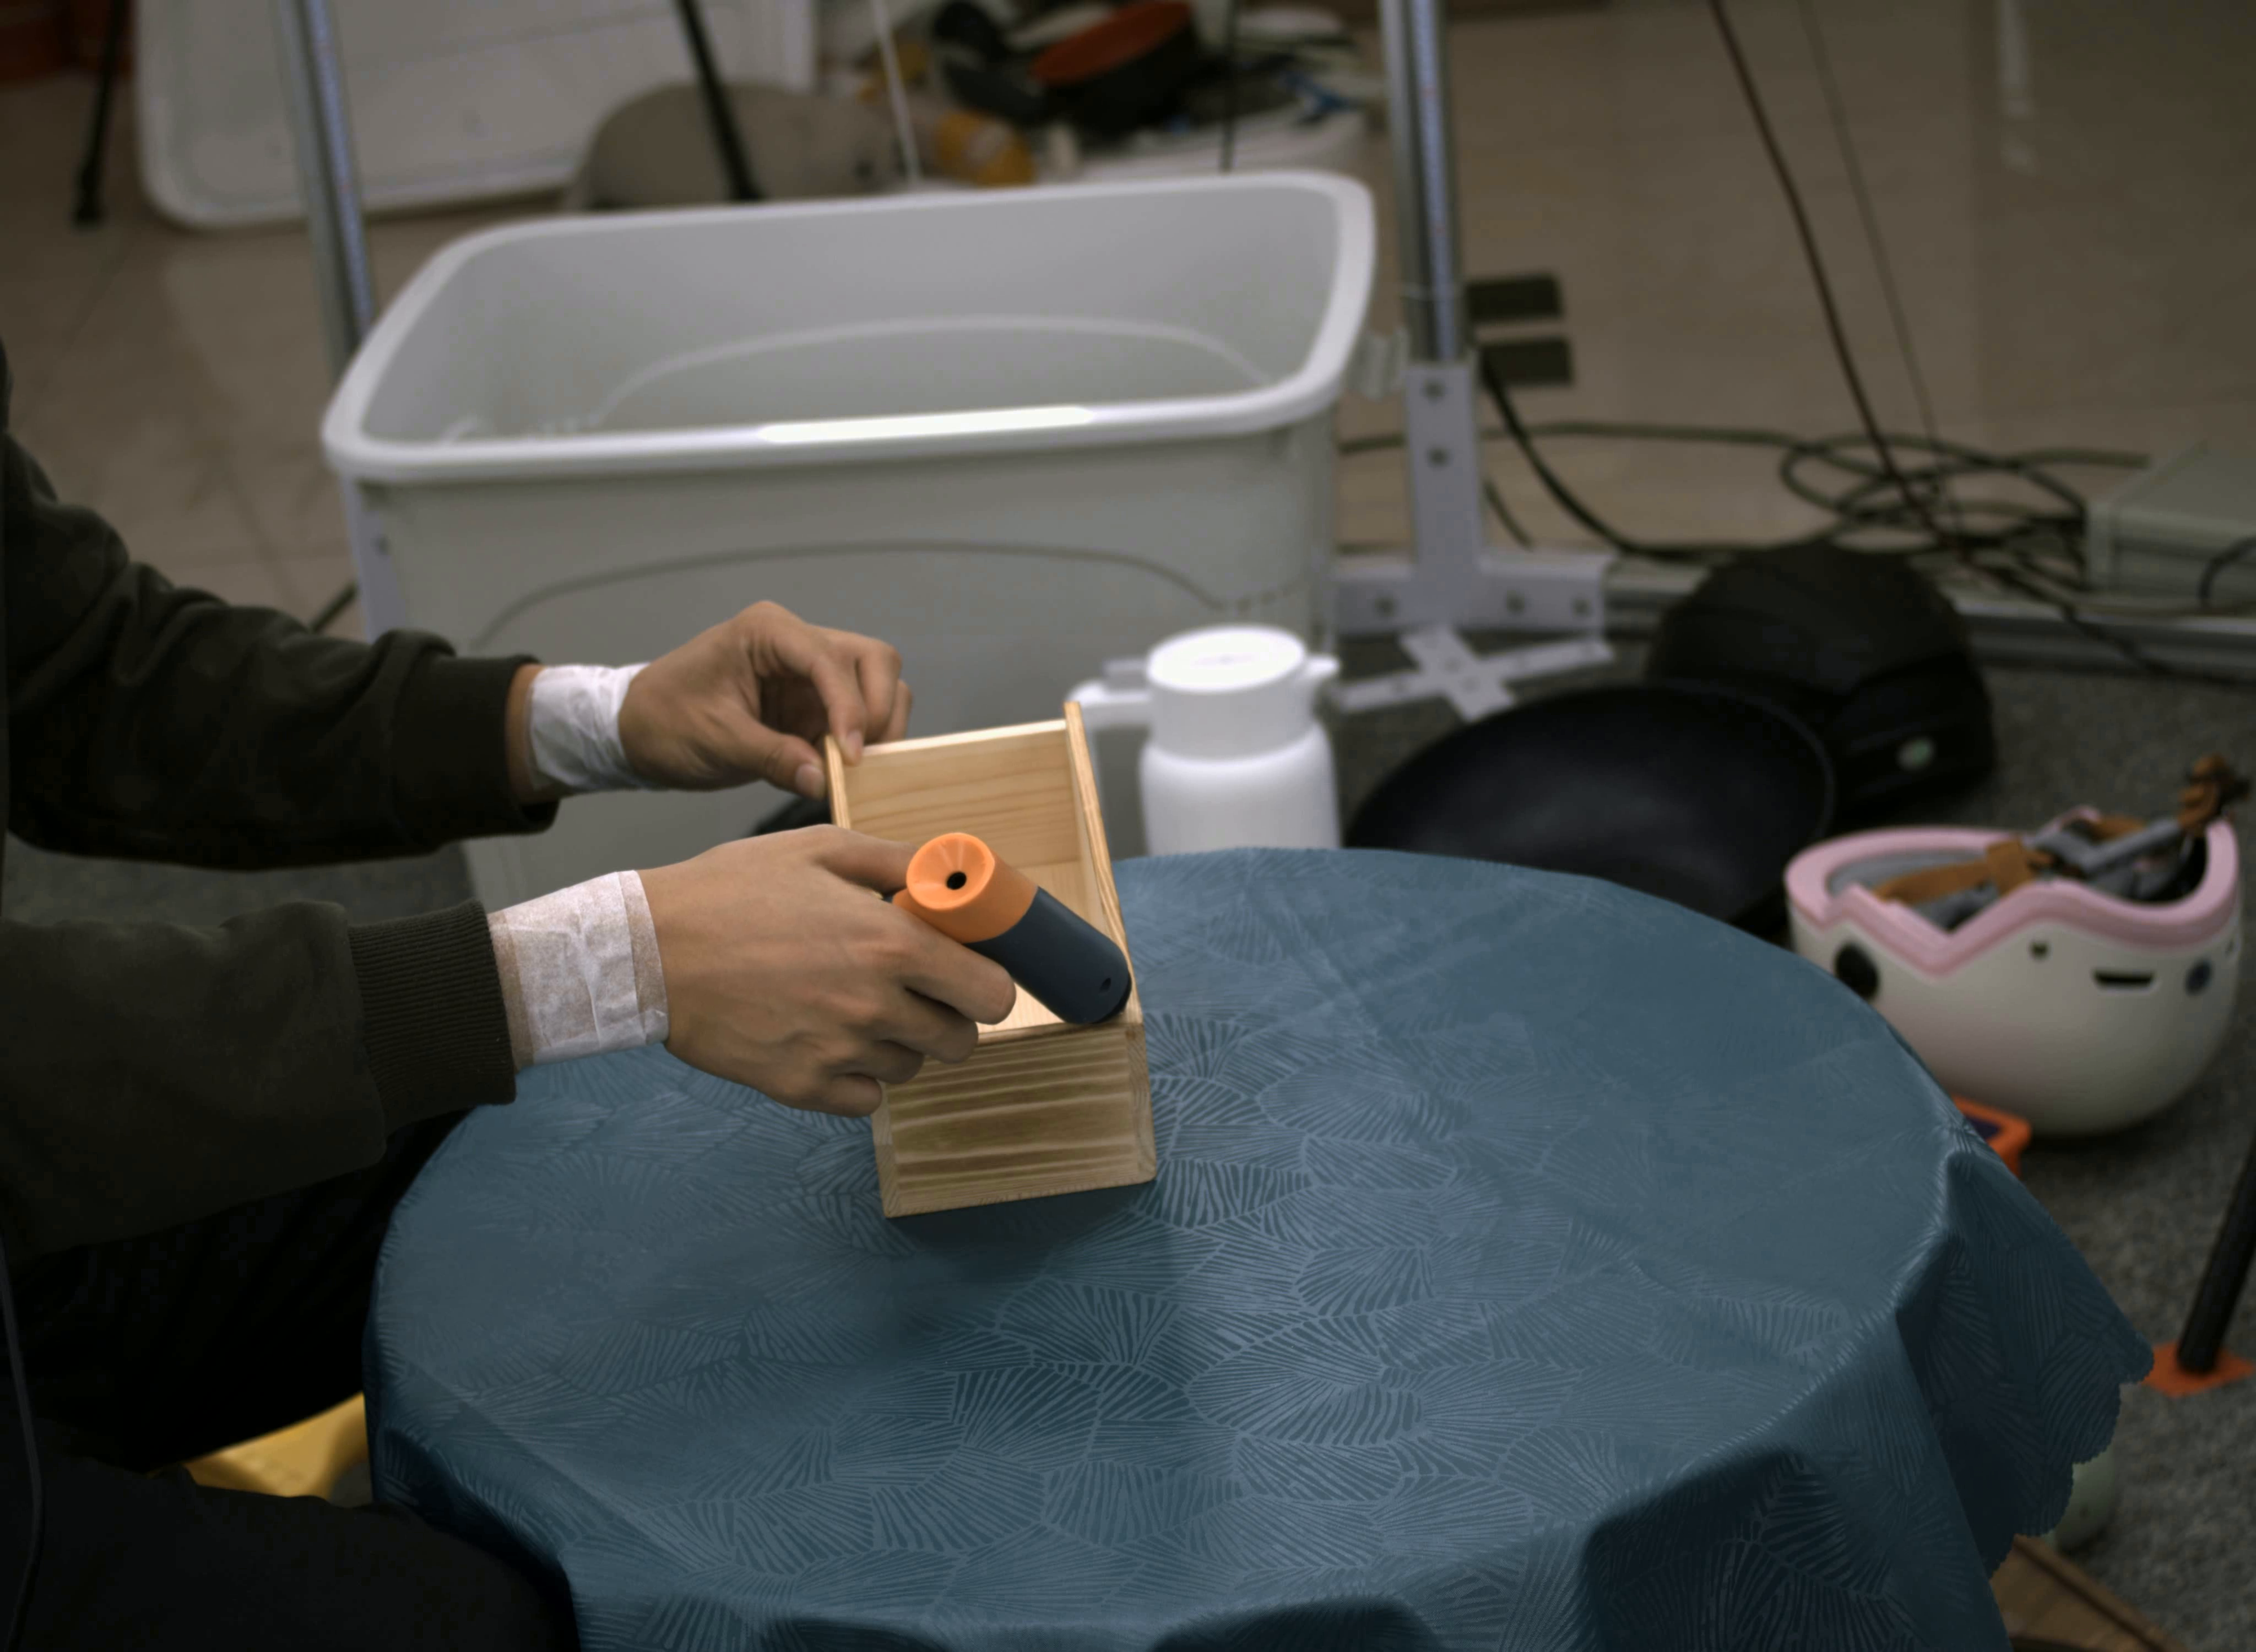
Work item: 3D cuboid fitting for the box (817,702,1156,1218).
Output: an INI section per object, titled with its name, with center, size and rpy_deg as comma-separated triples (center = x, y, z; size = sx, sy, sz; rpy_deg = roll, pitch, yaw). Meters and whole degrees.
[box]
center = -0.057, 0.050, 2.209
size = 0.107, 0.082, 0.207
rpy_deg = -9, 38, -3

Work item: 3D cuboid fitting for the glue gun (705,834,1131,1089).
[glue gun]
center = -0.076, 0.054, 2.074
size = 0.140, 0.120, 0.040
rpy_deg = -14, 55, 8
